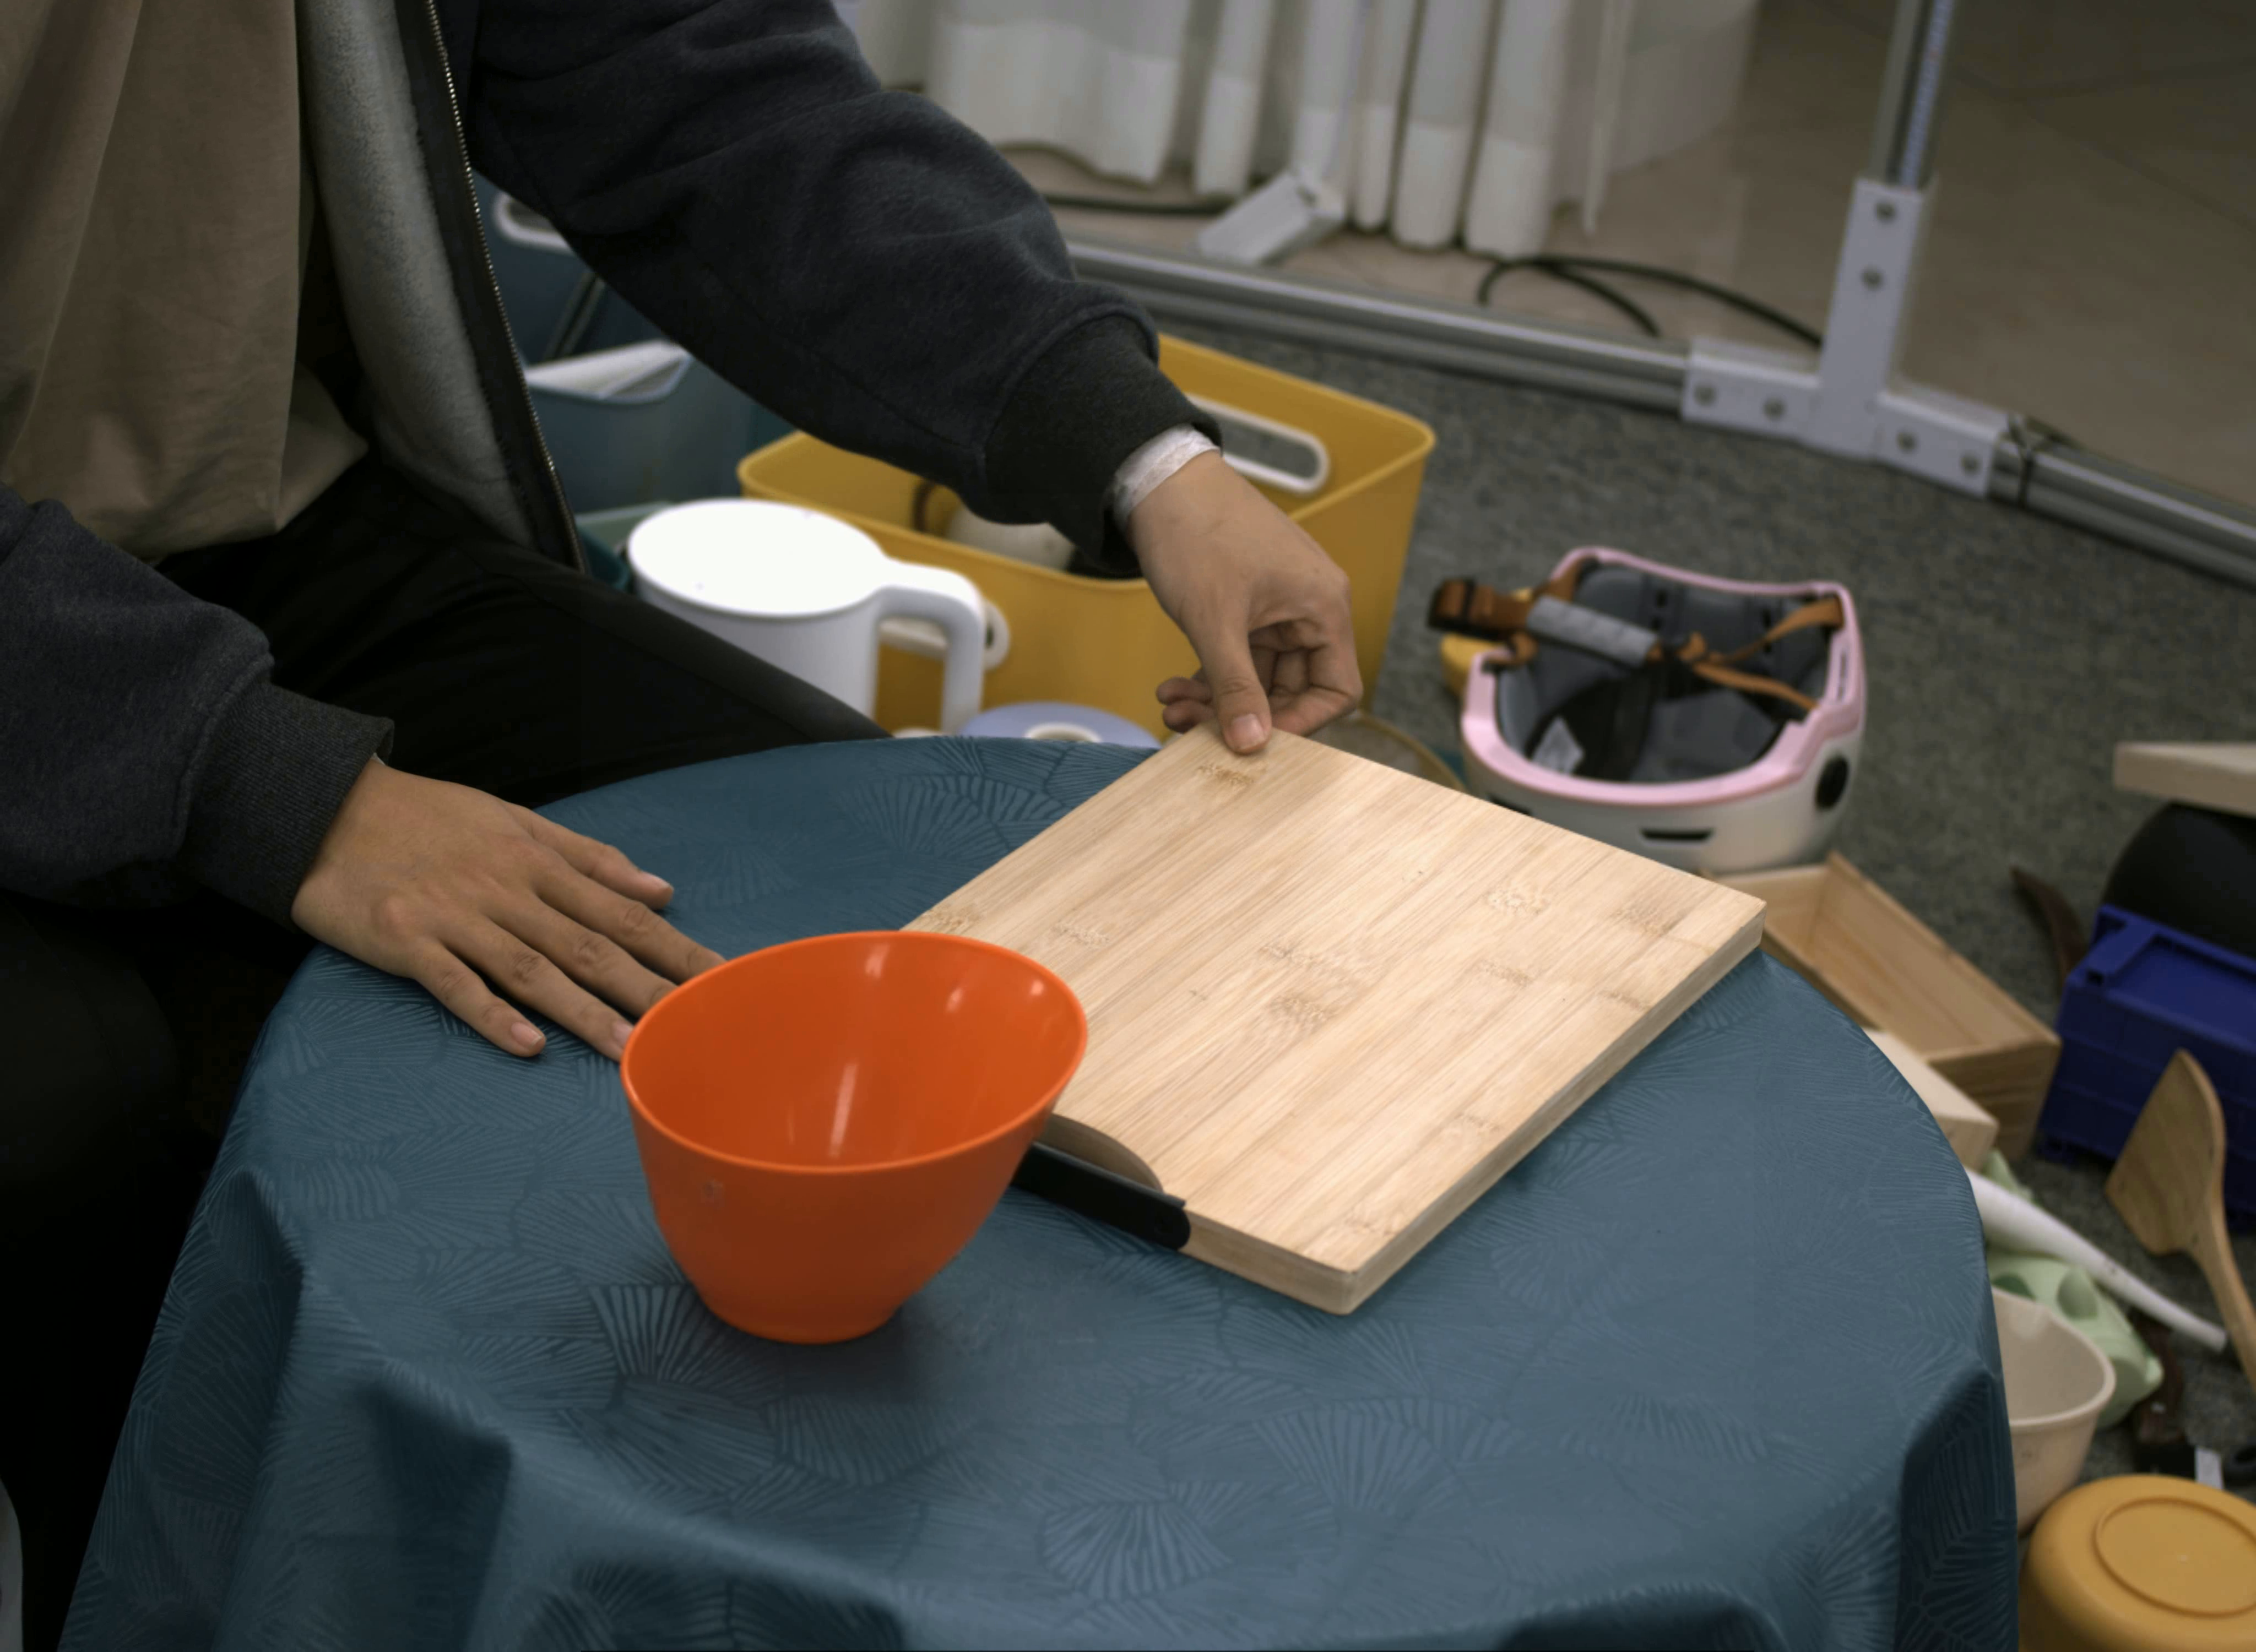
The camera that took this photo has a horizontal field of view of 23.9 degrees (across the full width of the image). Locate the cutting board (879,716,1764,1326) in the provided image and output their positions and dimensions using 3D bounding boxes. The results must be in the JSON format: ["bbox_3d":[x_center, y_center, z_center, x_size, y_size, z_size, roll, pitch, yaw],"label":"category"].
[{"bbox_3d":[0.050,0.061,1.918,0.252,0.023,0.348,19,29,24],"label":"cutting board"}]

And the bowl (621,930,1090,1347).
[{"bbox_3d":[-0.091,0.106,1.703,0.147,0.104,0.149,5,28,-3],"label":"bowl"}]
